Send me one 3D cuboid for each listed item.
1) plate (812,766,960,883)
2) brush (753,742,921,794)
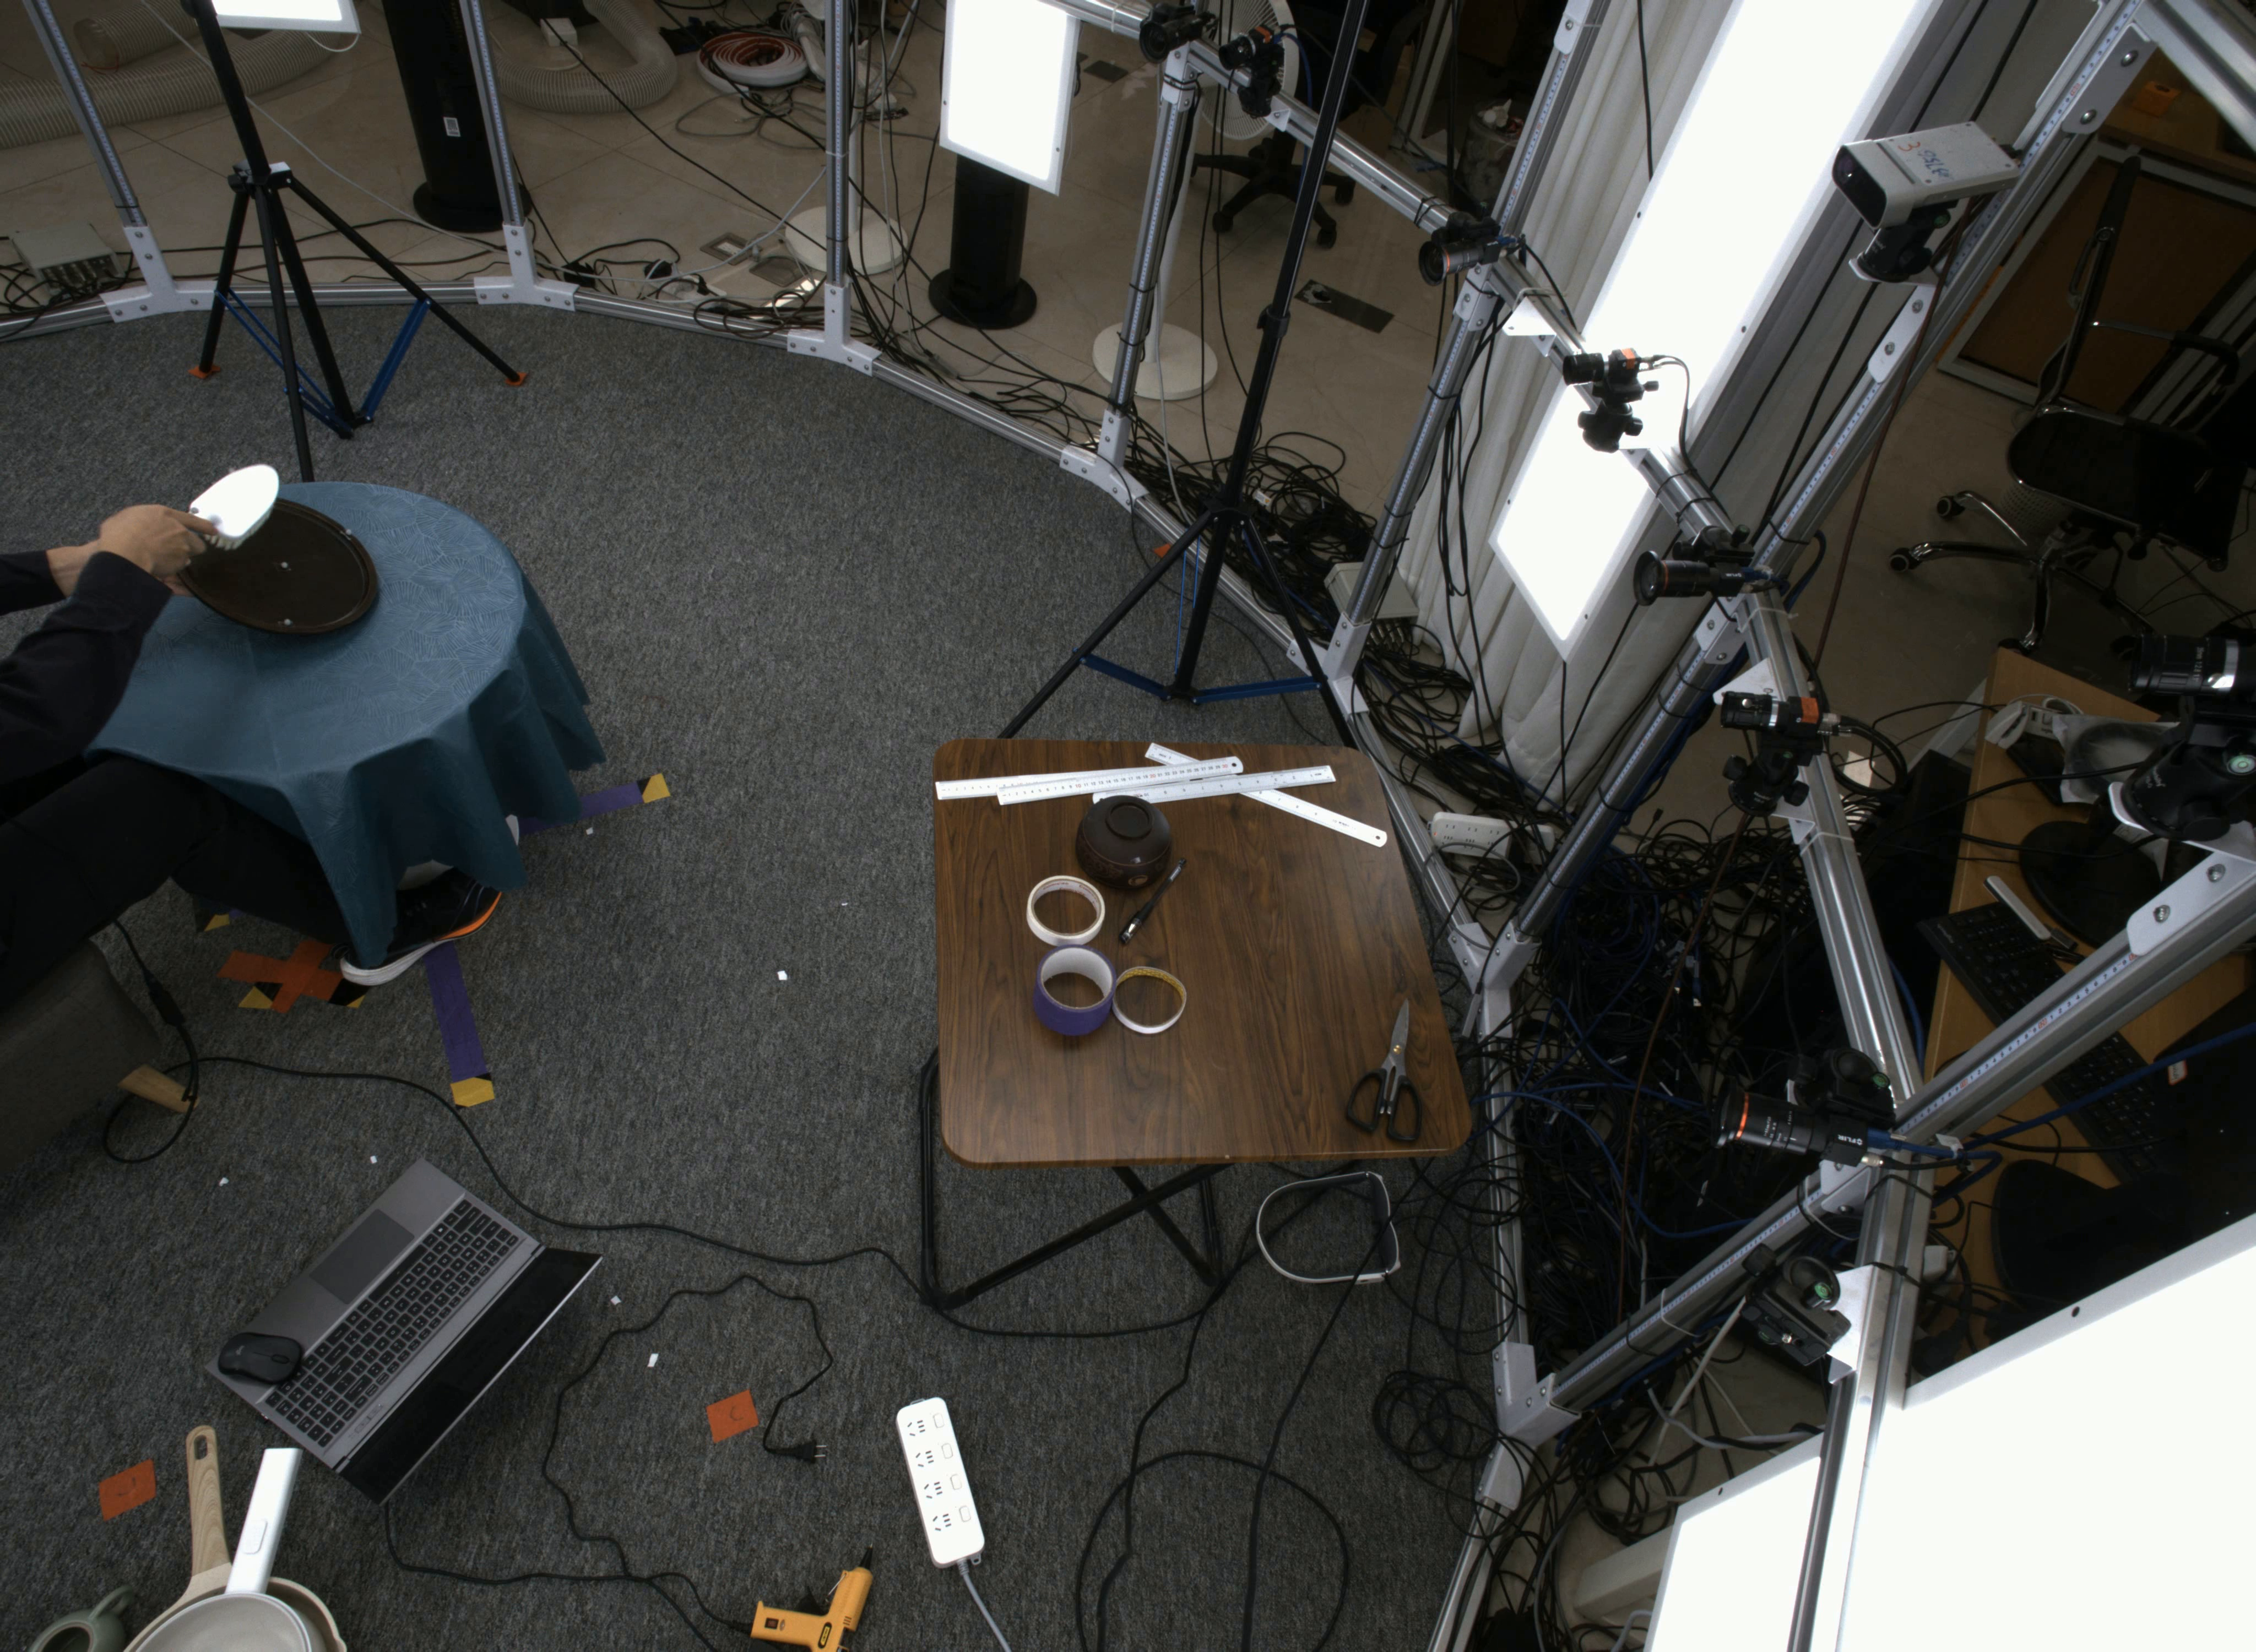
[{"bbox_3d":[-0.388,-0.002,2.082,0.258,0.029,0.249,27,32,-17],"label":"plate"},{"bbox_3d":[-0.449,-0.091,1.964,0.080,0.086,0.331,16,12,33],"label":"brush"}]
